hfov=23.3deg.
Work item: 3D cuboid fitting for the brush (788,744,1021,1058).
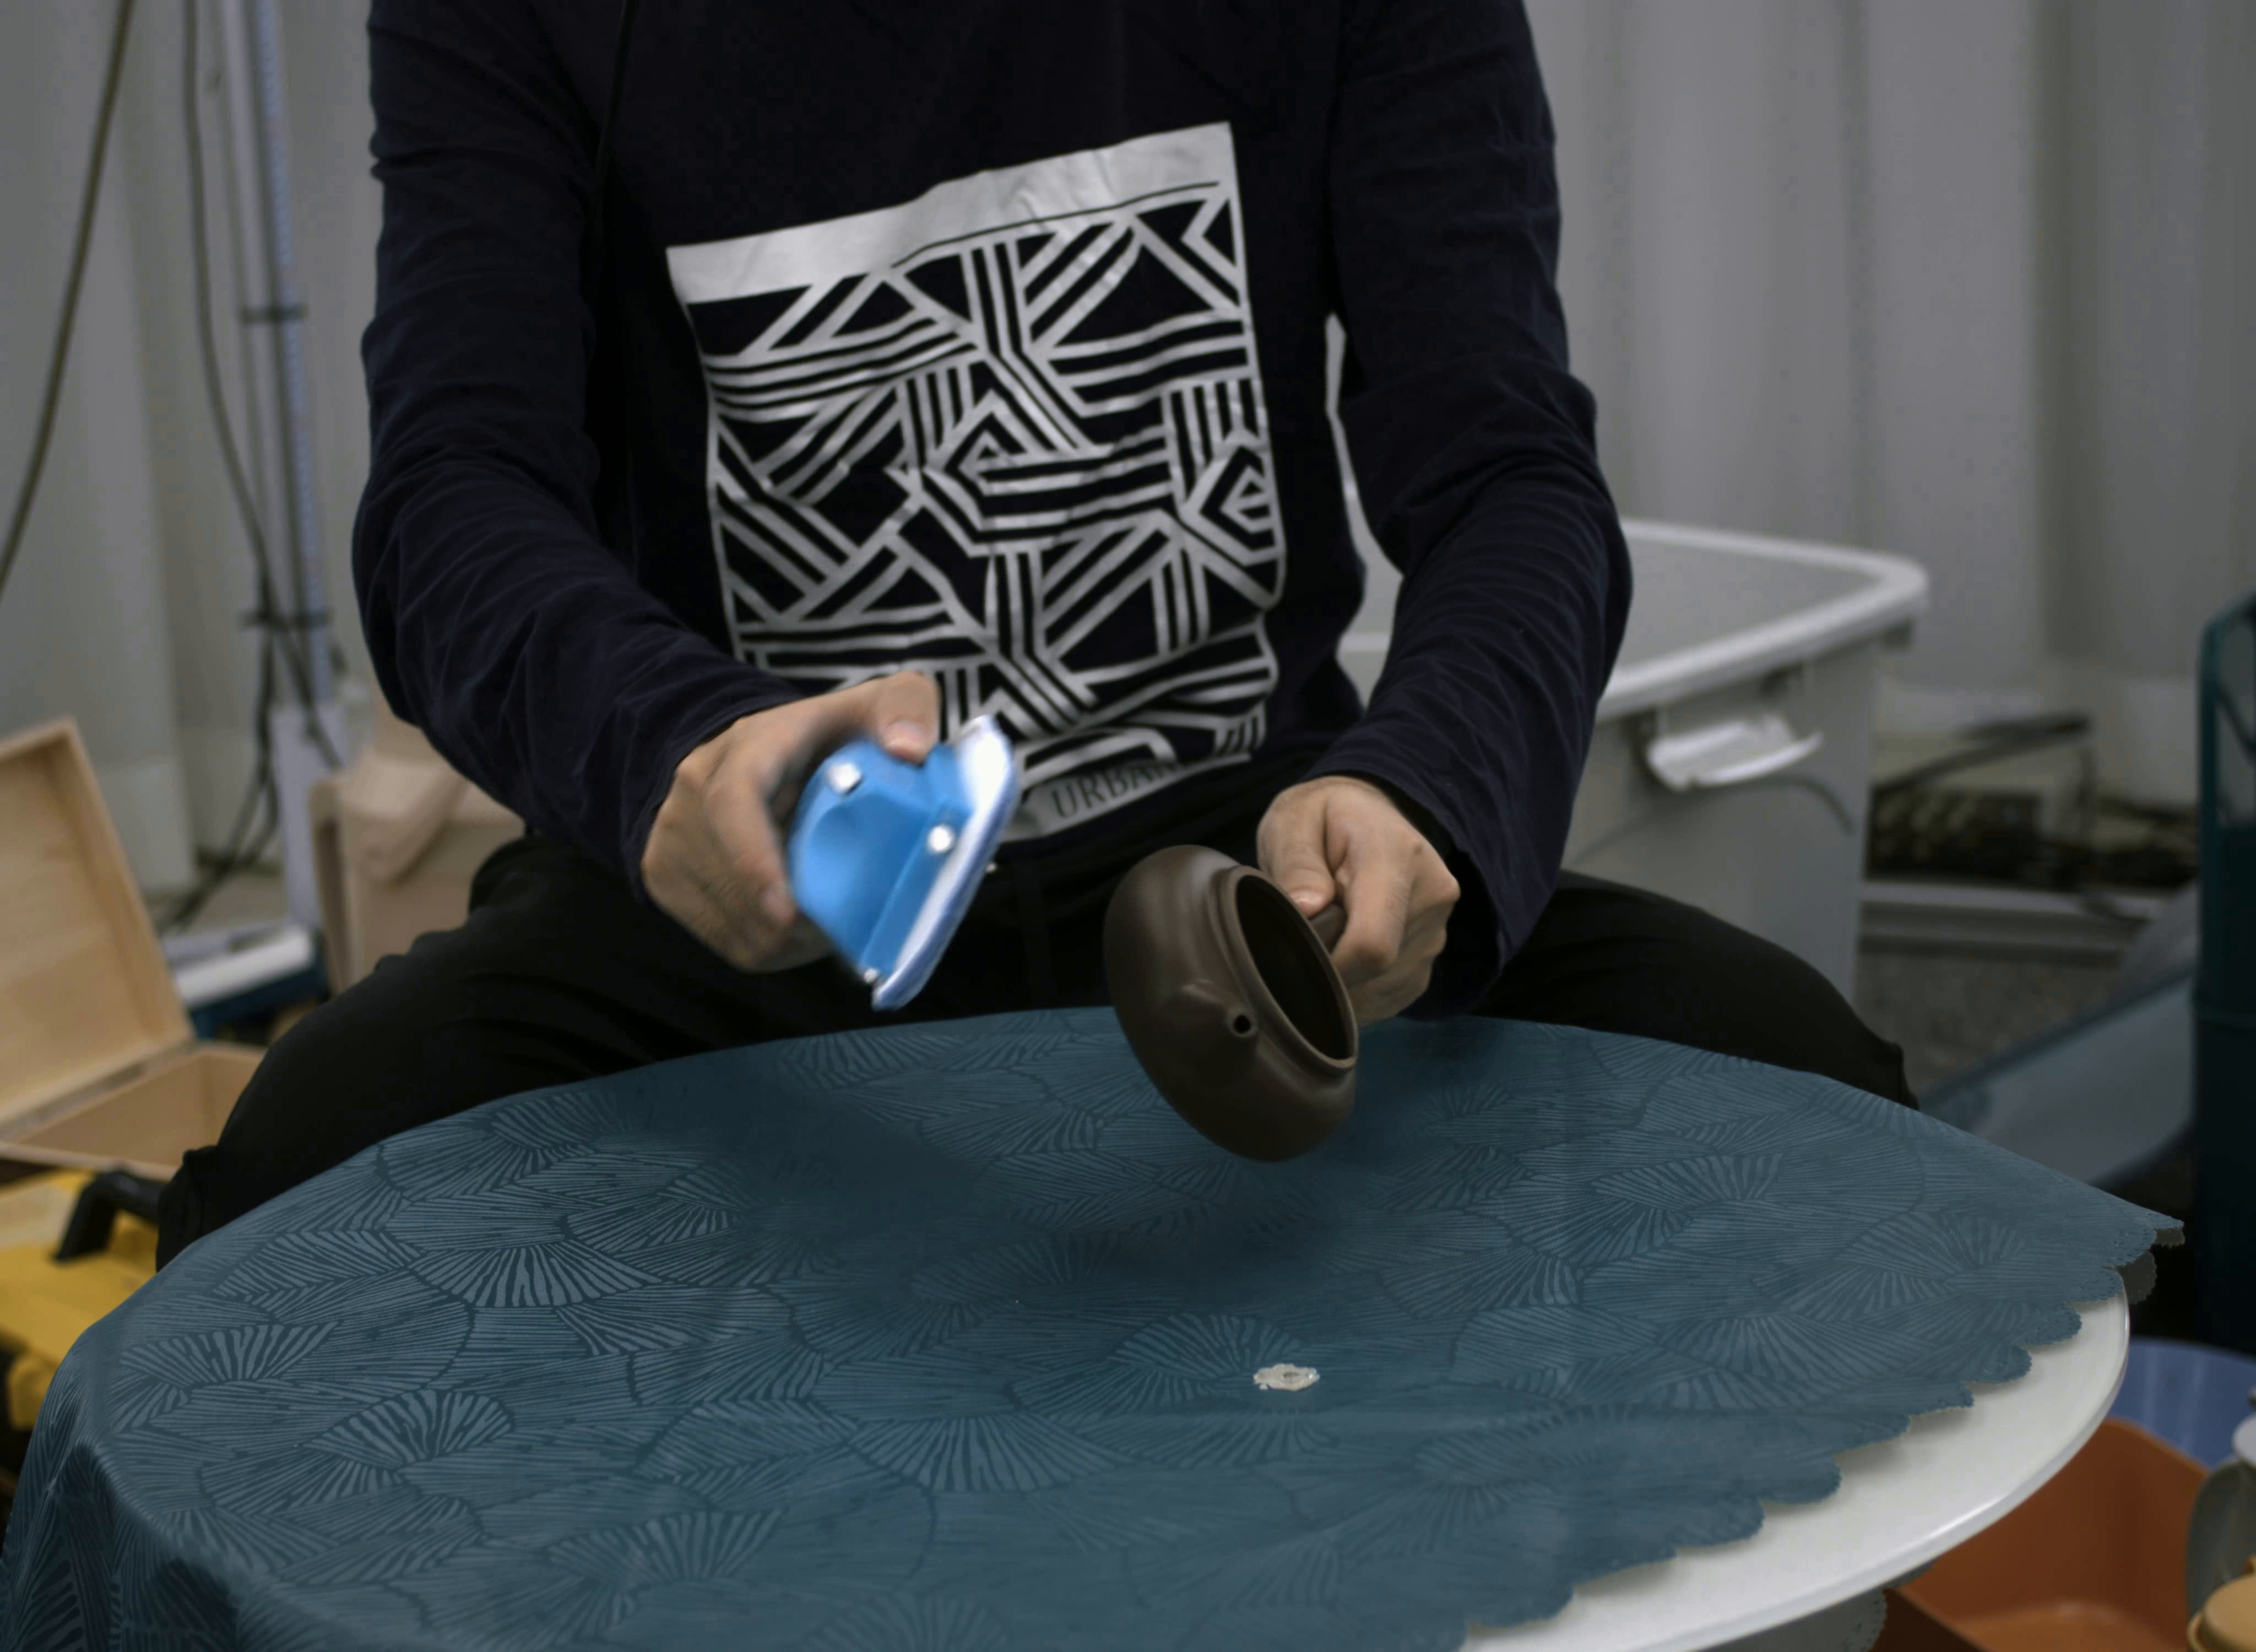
[{"bbox_3d":[-0.073,0.017,1.634,0.055,0.084,0.145,33,9,-9],"label":"brush"}]

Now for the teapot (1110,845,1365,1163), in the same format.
[{"bbox_3d":[0.036,0.052,1.659,0.053,0.102,0.154,-30,9,20],"label":"teapot"}]
